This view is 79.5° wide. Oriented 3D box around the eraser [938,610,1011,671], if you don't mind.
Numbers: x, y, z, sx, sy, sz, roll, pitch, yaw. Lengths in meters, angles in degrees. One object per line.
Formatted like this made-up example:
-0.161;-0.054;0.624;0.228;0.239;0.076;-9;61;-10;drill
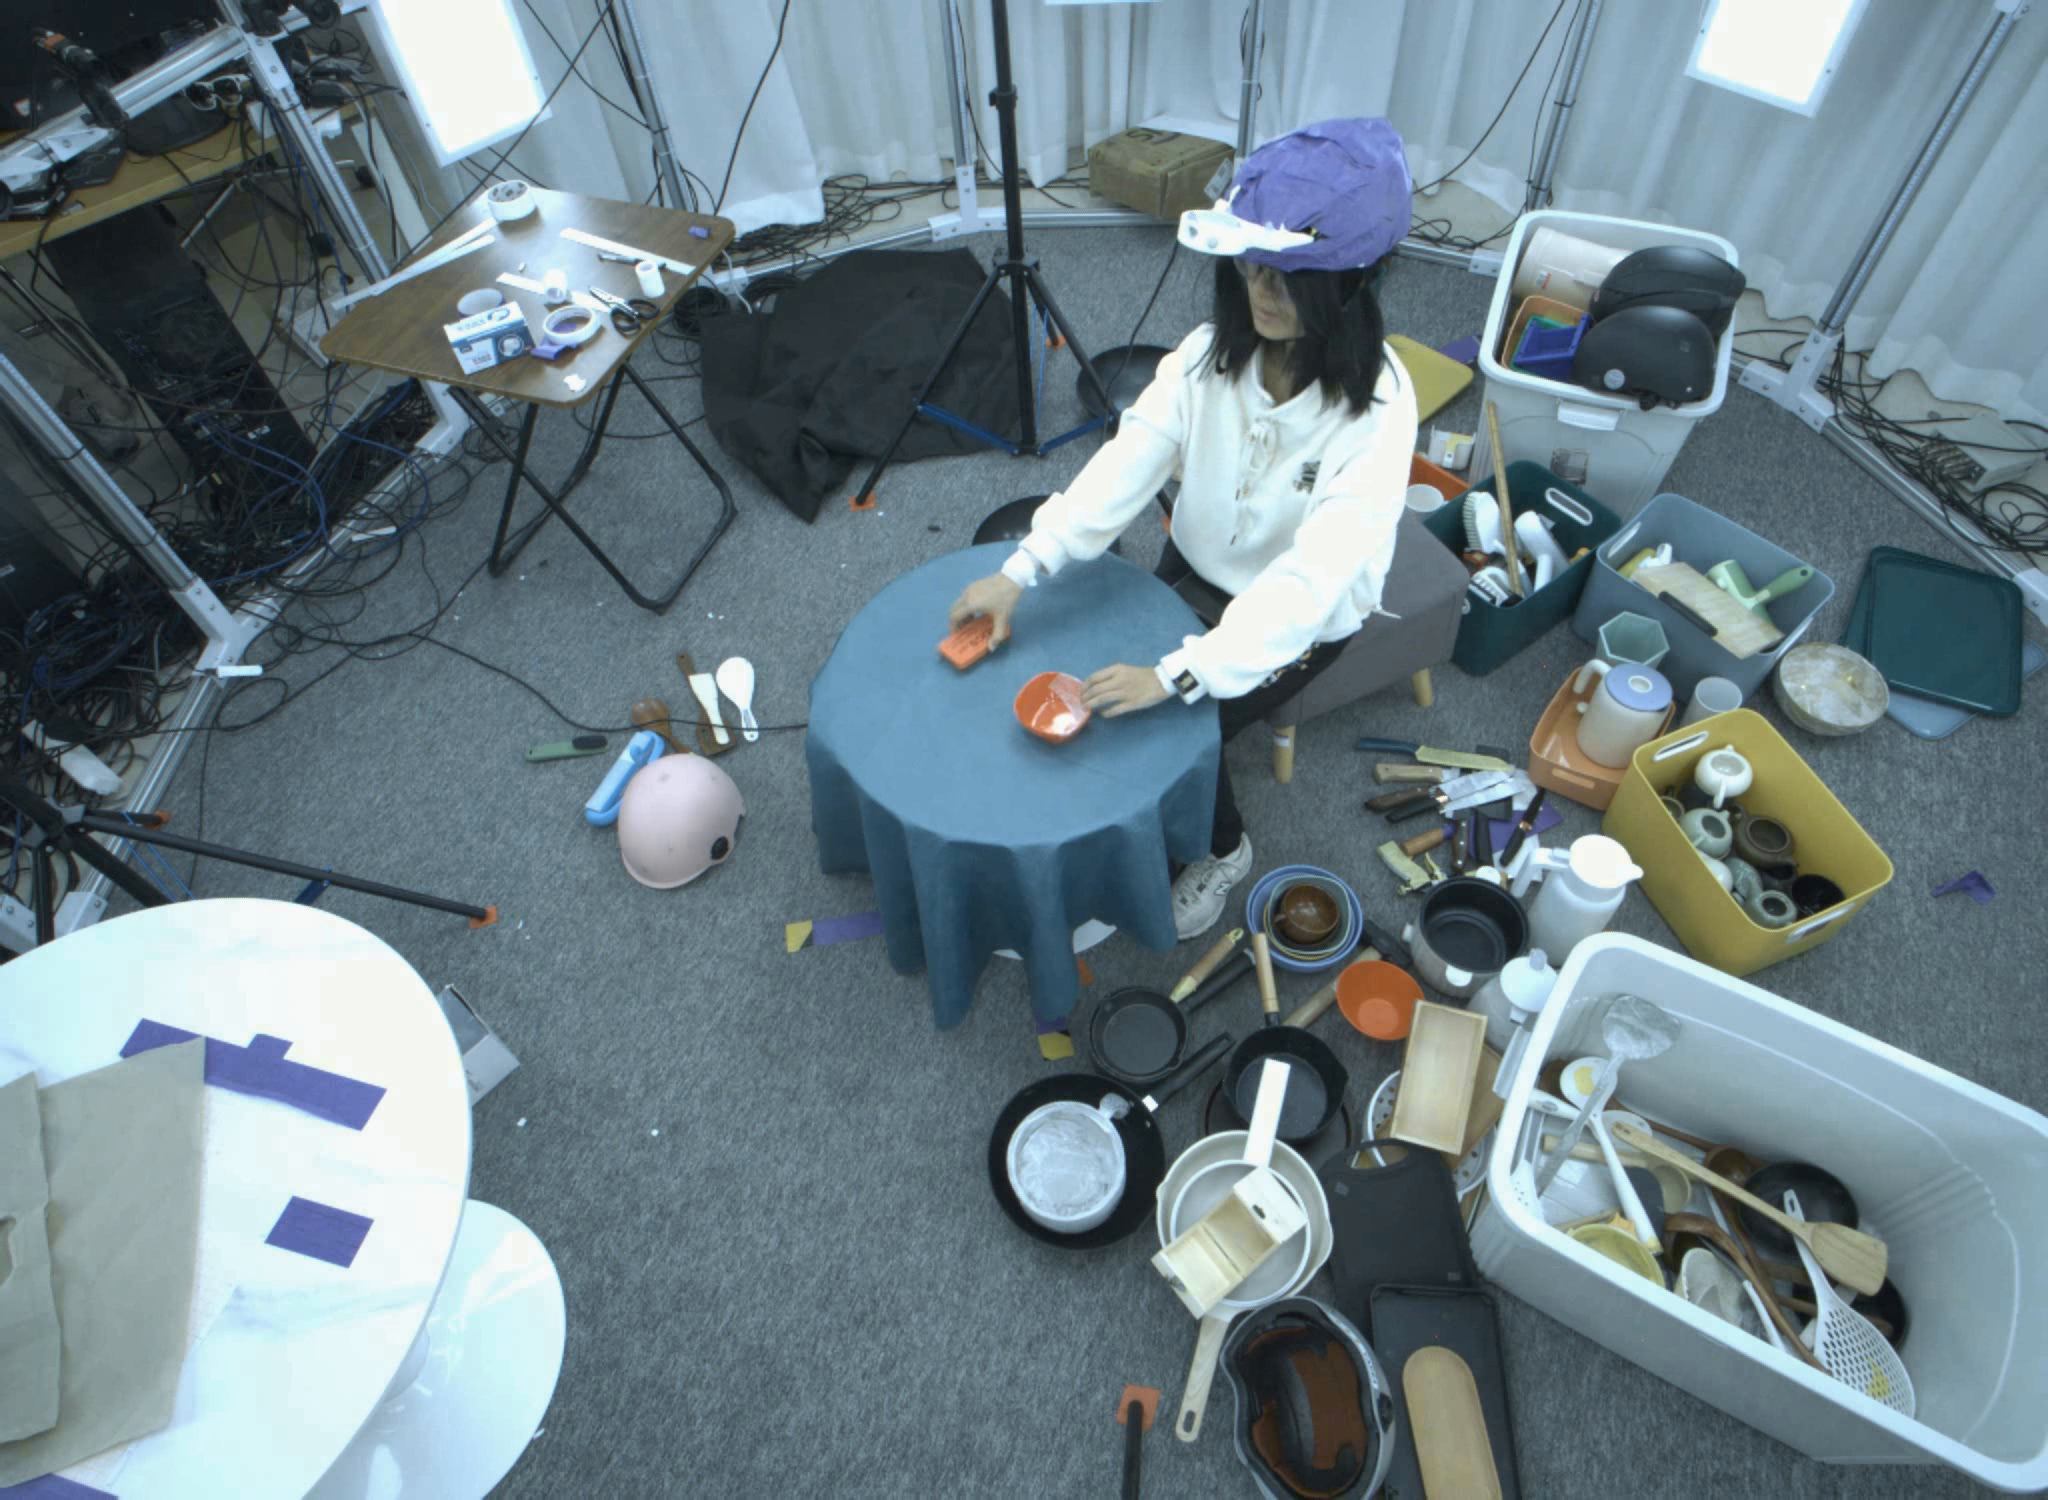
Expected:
-0.077;-0.170;1.896;0.109;0.023;0.058;-38;59;-22;eraser

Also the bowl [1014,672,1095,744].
0.046;-0.054;1.794;0.119;0.052;0.117;-1;53;2;bowl
